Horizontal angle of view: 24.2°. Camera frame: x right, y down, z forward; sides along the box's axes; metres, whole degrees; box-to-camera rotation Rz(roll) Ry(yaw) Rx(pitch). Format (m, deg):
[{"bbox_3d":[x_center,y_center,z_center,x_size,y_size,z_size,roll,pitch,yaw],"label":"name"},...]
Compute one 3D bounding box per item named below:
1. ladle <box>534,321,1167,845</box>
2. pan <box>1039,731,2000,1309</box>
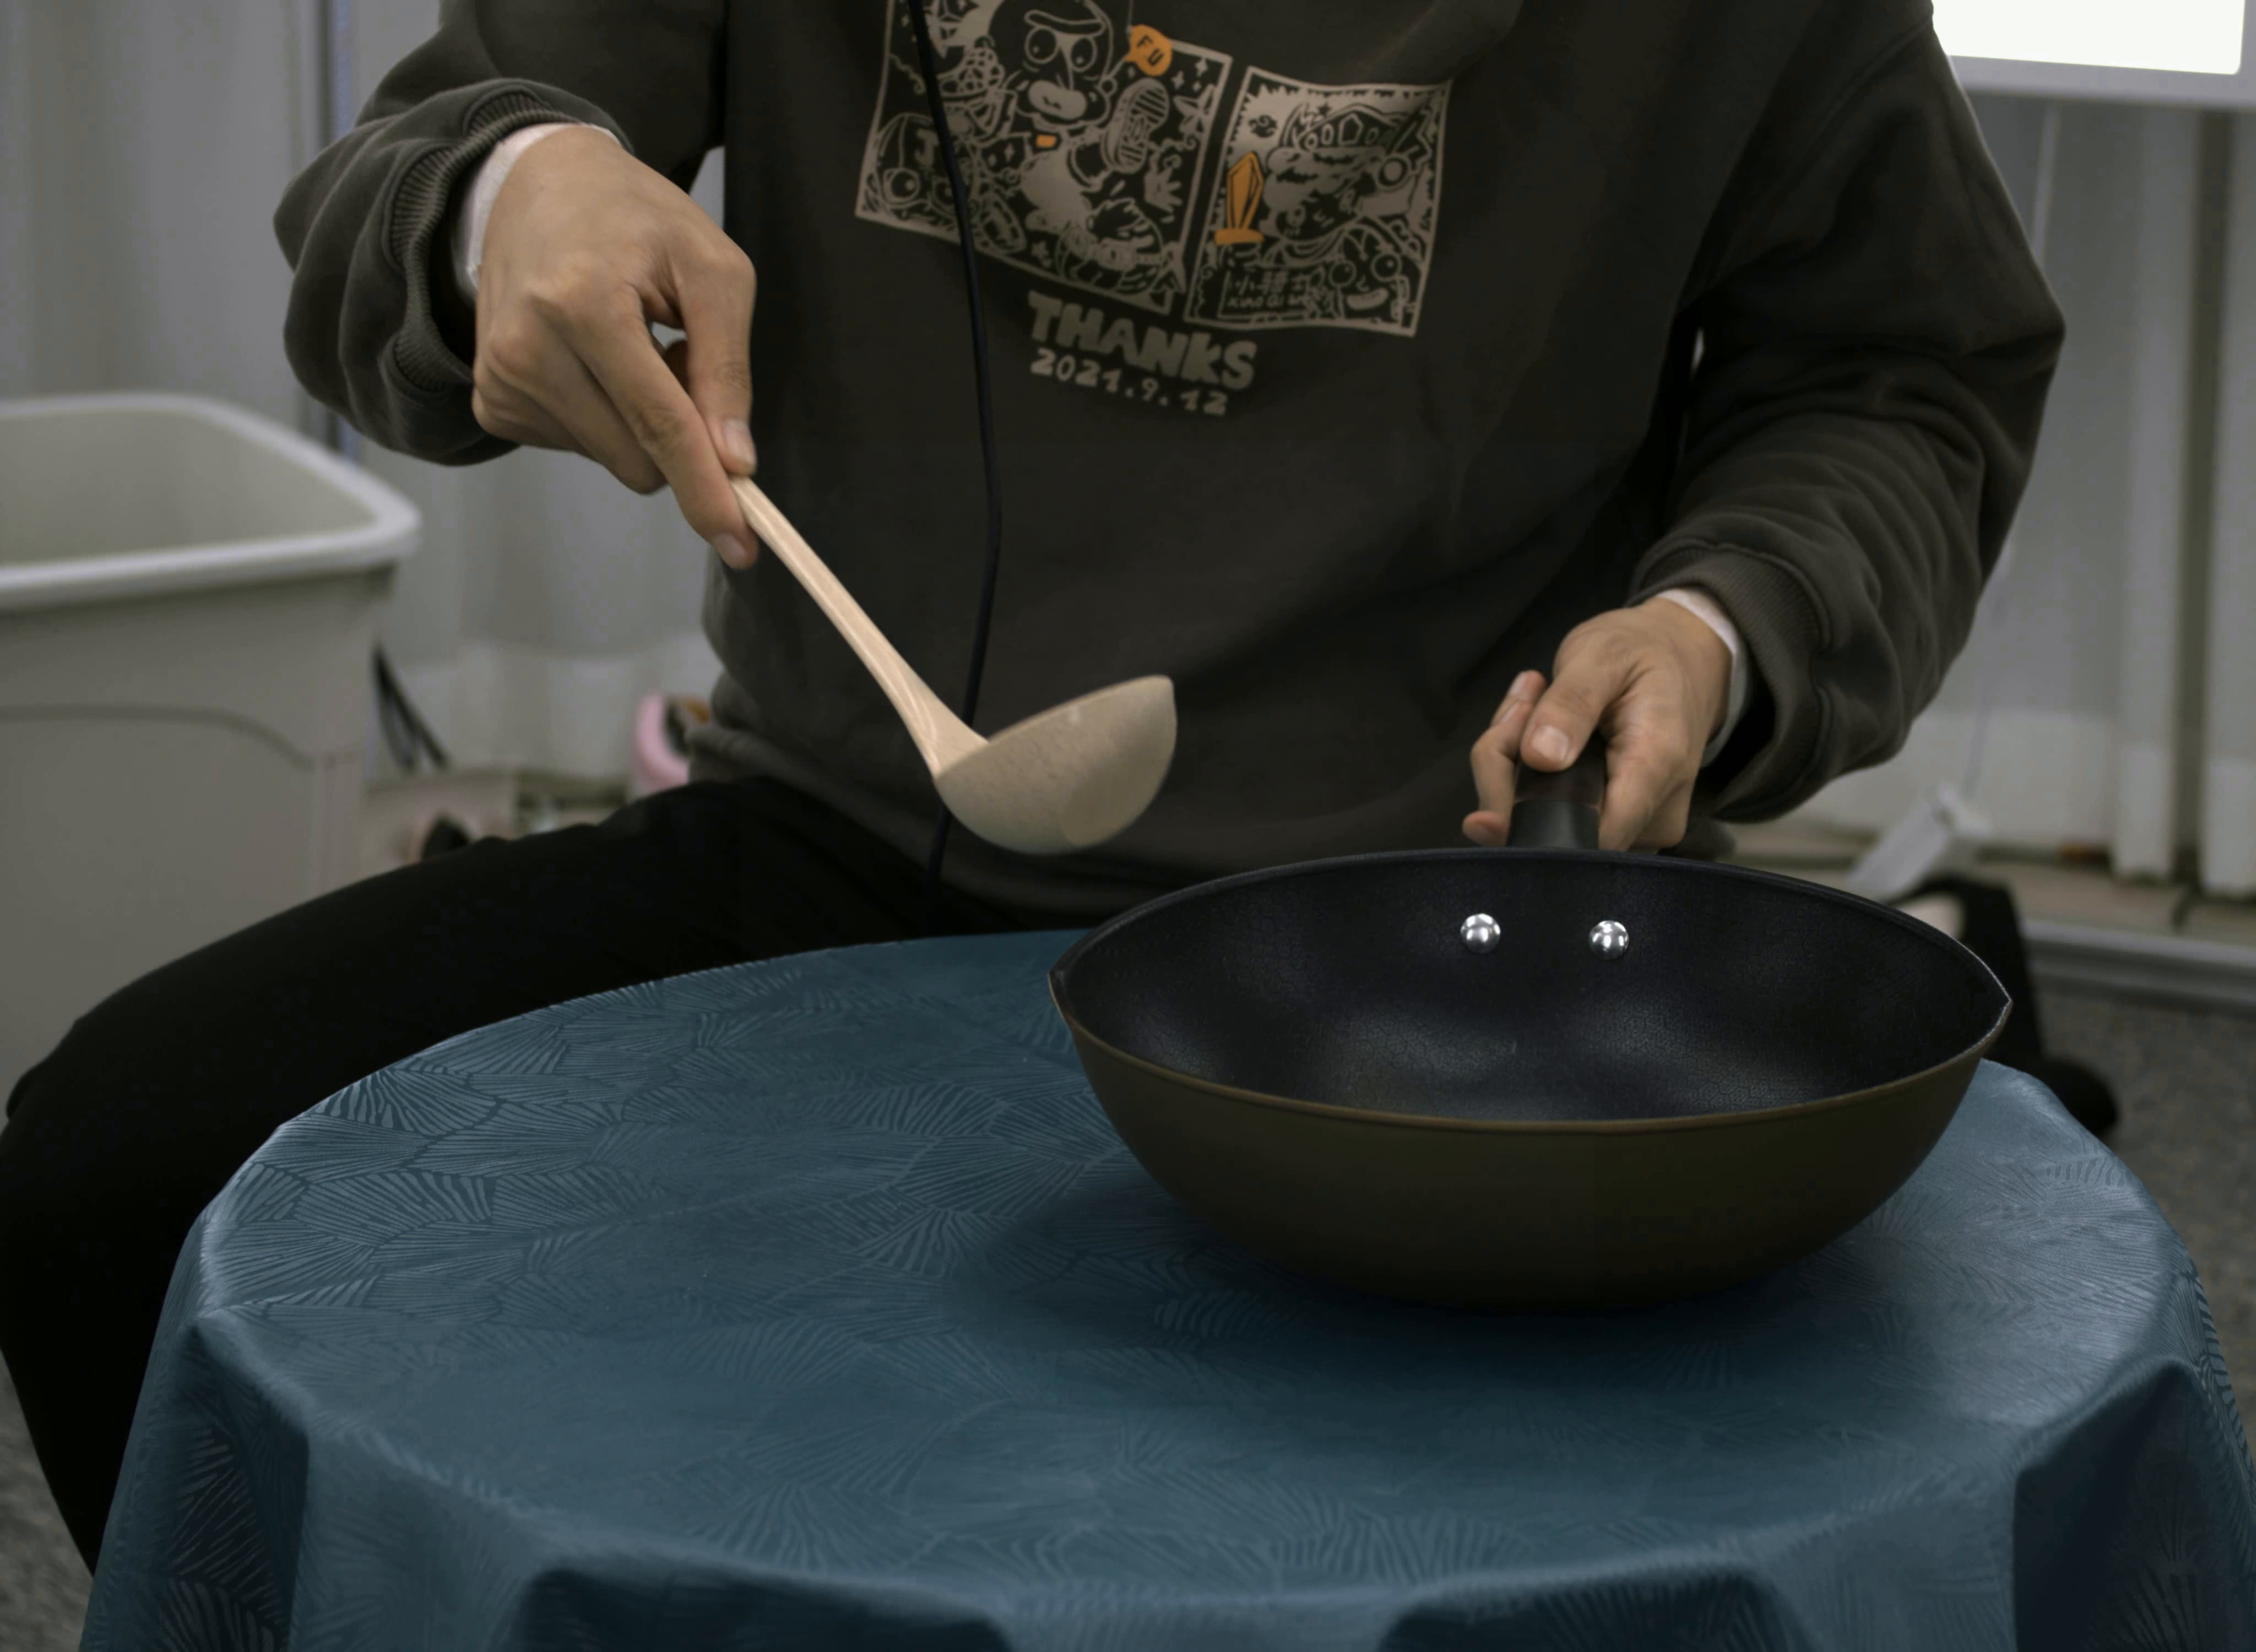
[{"bbox_3d":[-0.085,-0.094,1.533,0.072,0.073,0.252,-22,60,-43],"label":"ladle"},{"bbox_3d":[0.127,0.059,1.672,0.286,0.087,0.462,2,15,6],"label":"pan"}]
